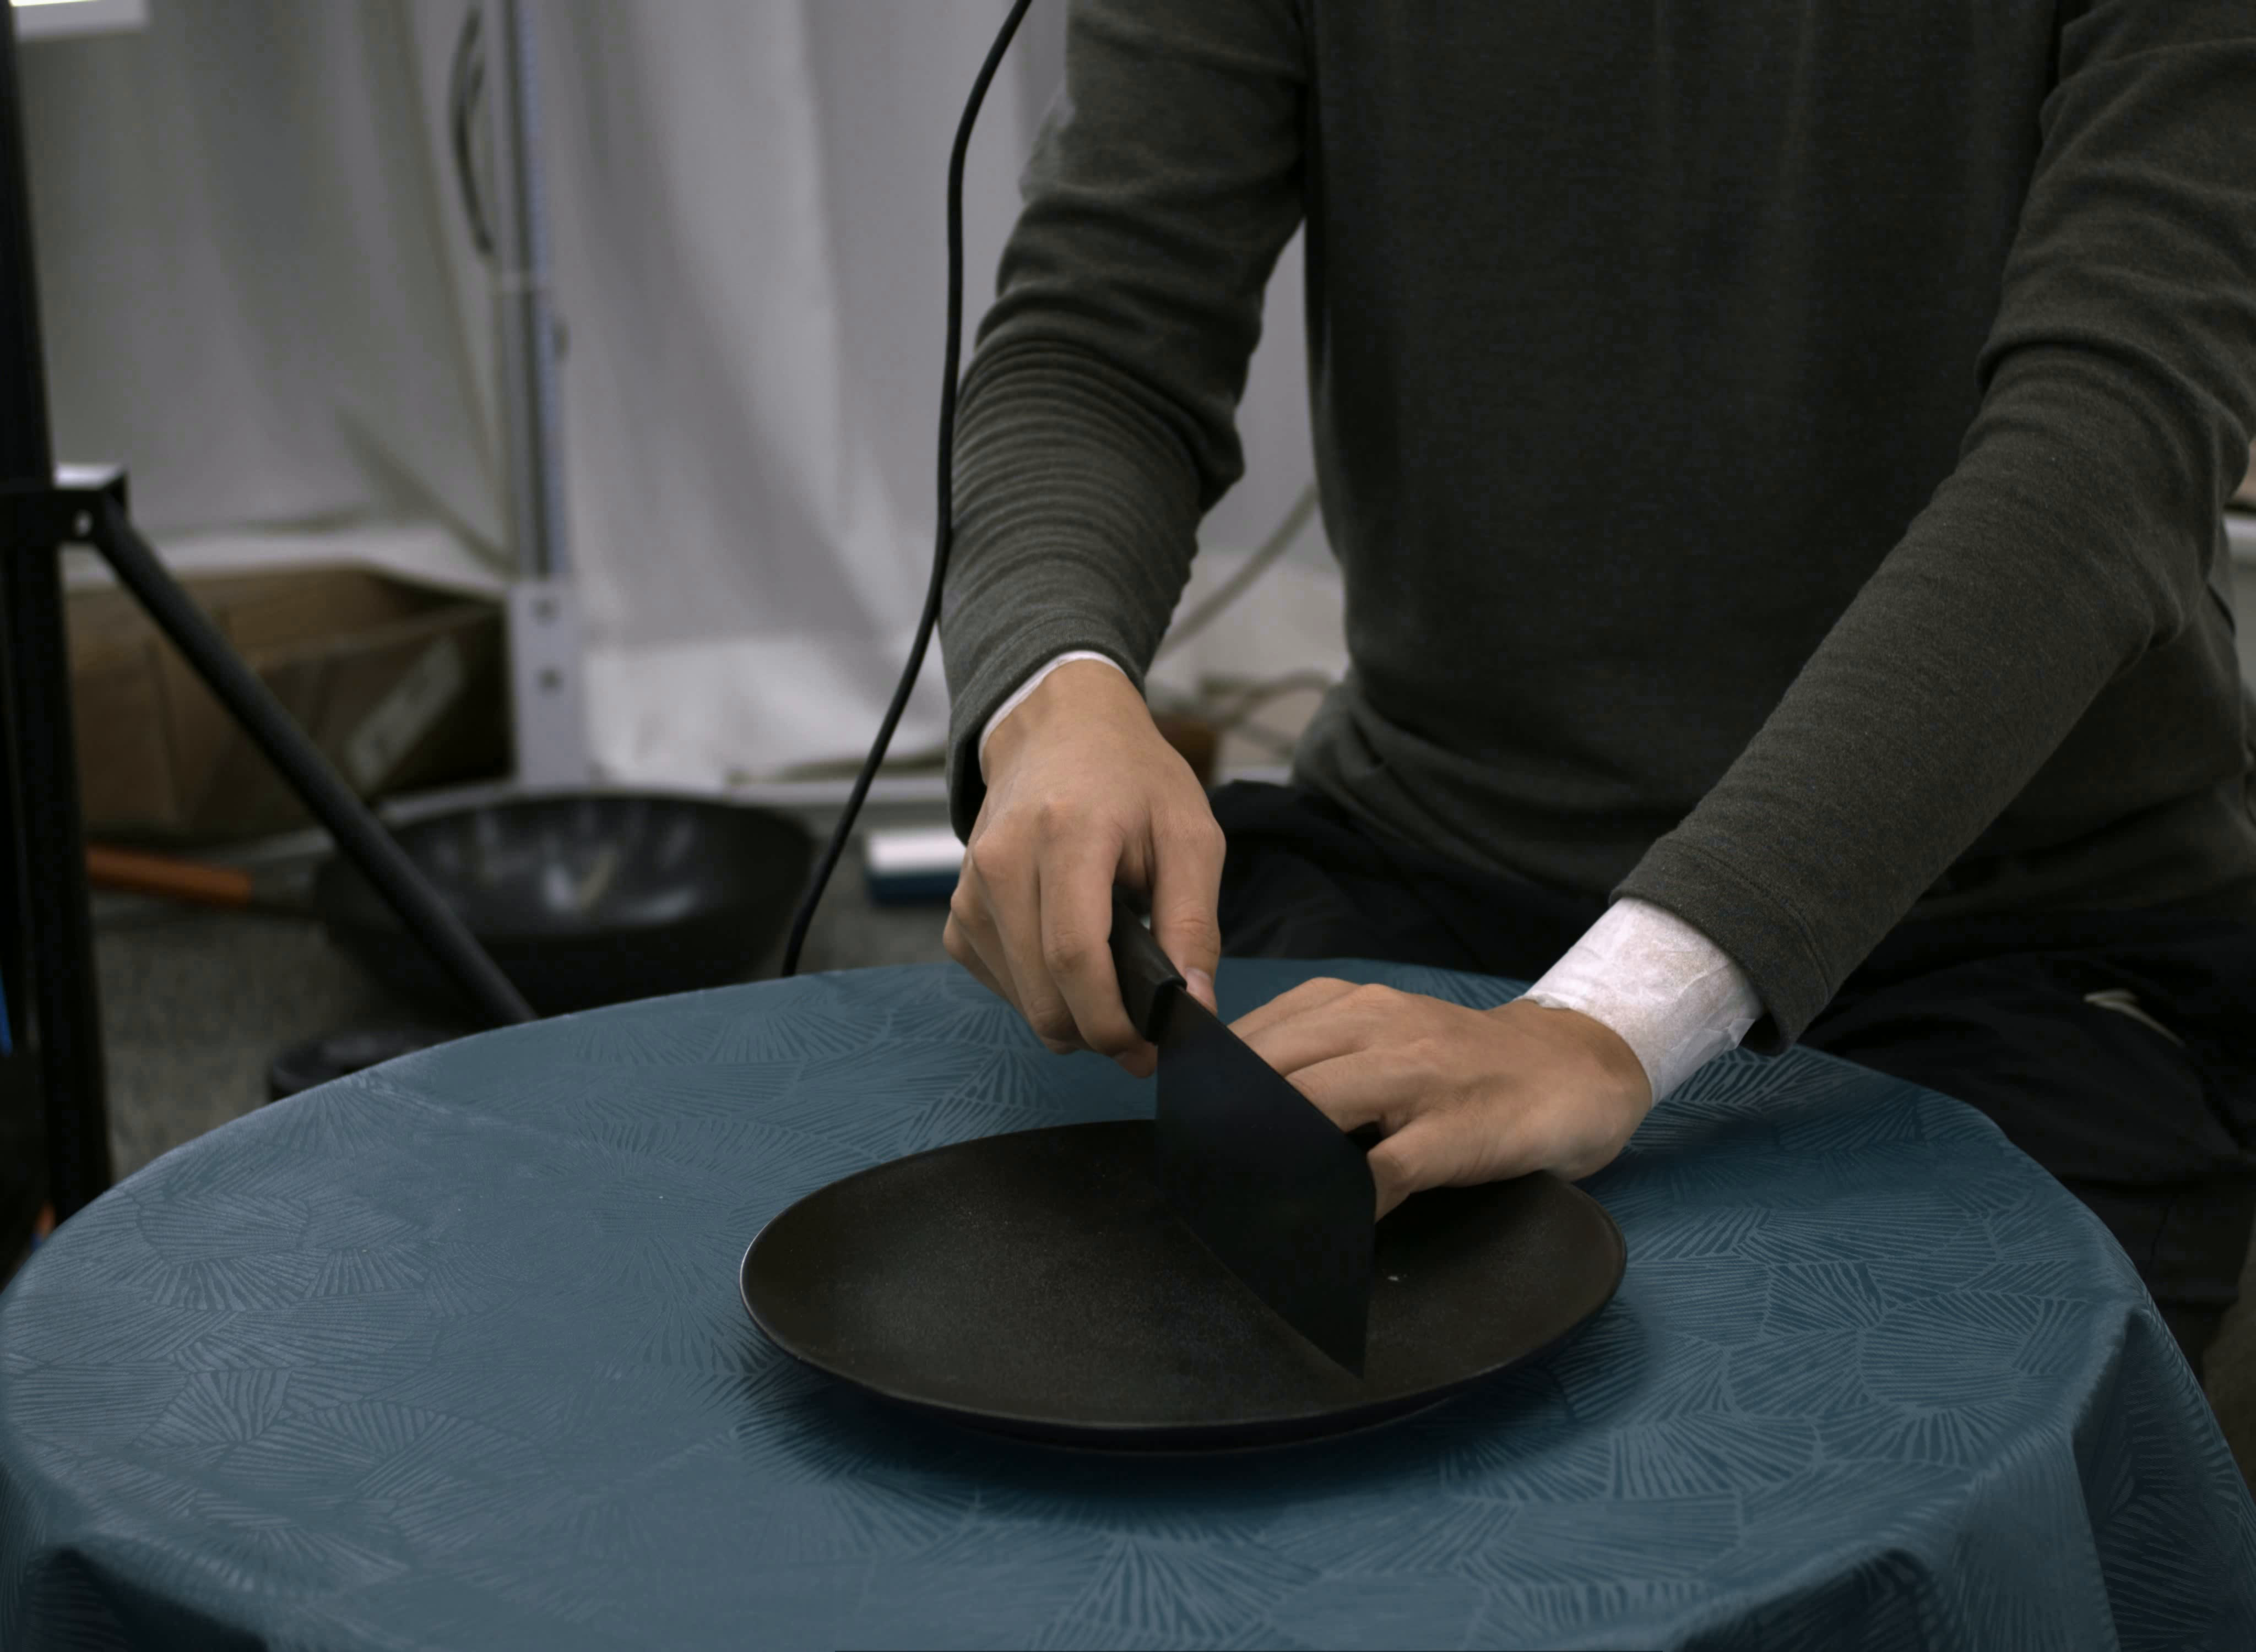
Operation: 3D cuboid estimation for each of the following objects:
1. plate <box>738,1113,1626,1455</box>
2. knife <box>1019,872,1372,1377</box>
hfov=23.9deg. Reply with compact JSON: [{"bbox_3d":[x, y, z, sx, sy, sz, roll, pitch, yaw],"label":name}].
[{"bbox_3d":[0.015,0.127,1.449,0.243,0.023,0.245,-3,16,-1],"label":"plate"},{"bbox_3d":[0.018,0.075,1.498,0.020,0.081,0.307,-1,19,-17],"label":"knife"}]
